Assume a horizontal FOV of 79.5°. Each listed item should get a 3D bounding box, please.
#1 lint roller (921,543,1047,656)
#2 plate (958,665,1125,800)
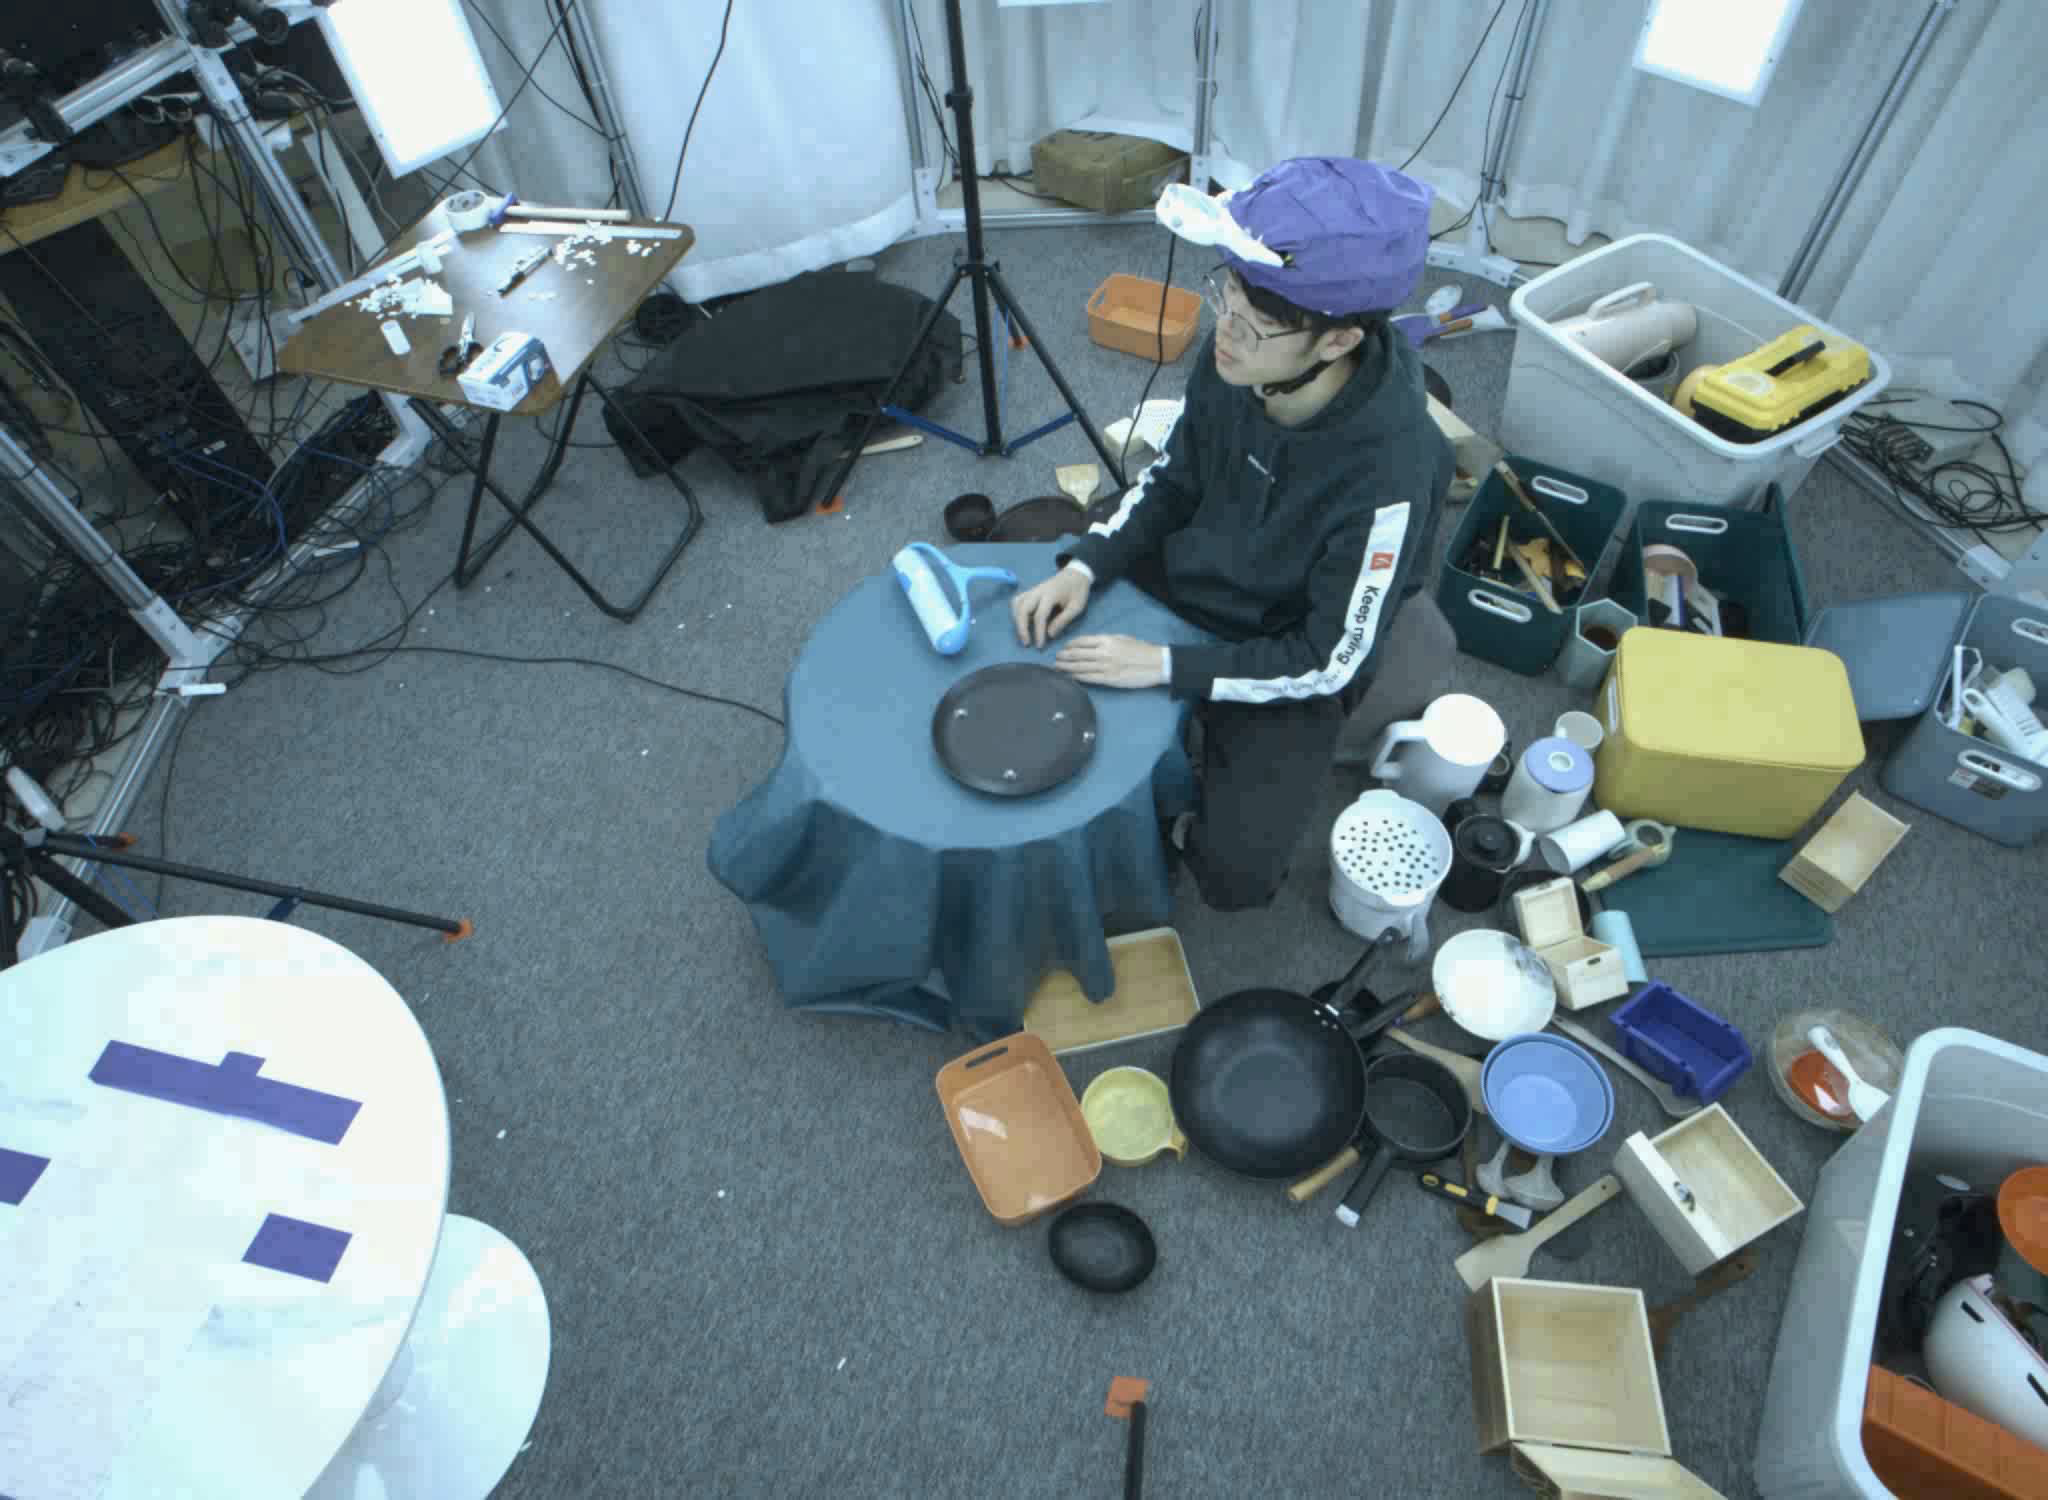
[{"bbox_3d":[-0.050,-0.256,1.932,0.181,0.069,0.224,-22,55,-13],"label":"lint roller"},{"bbox_3d":[0.025,-0.024,1.785,0.244,0.024,0.242,0,55,2],"label":"plate"}]
